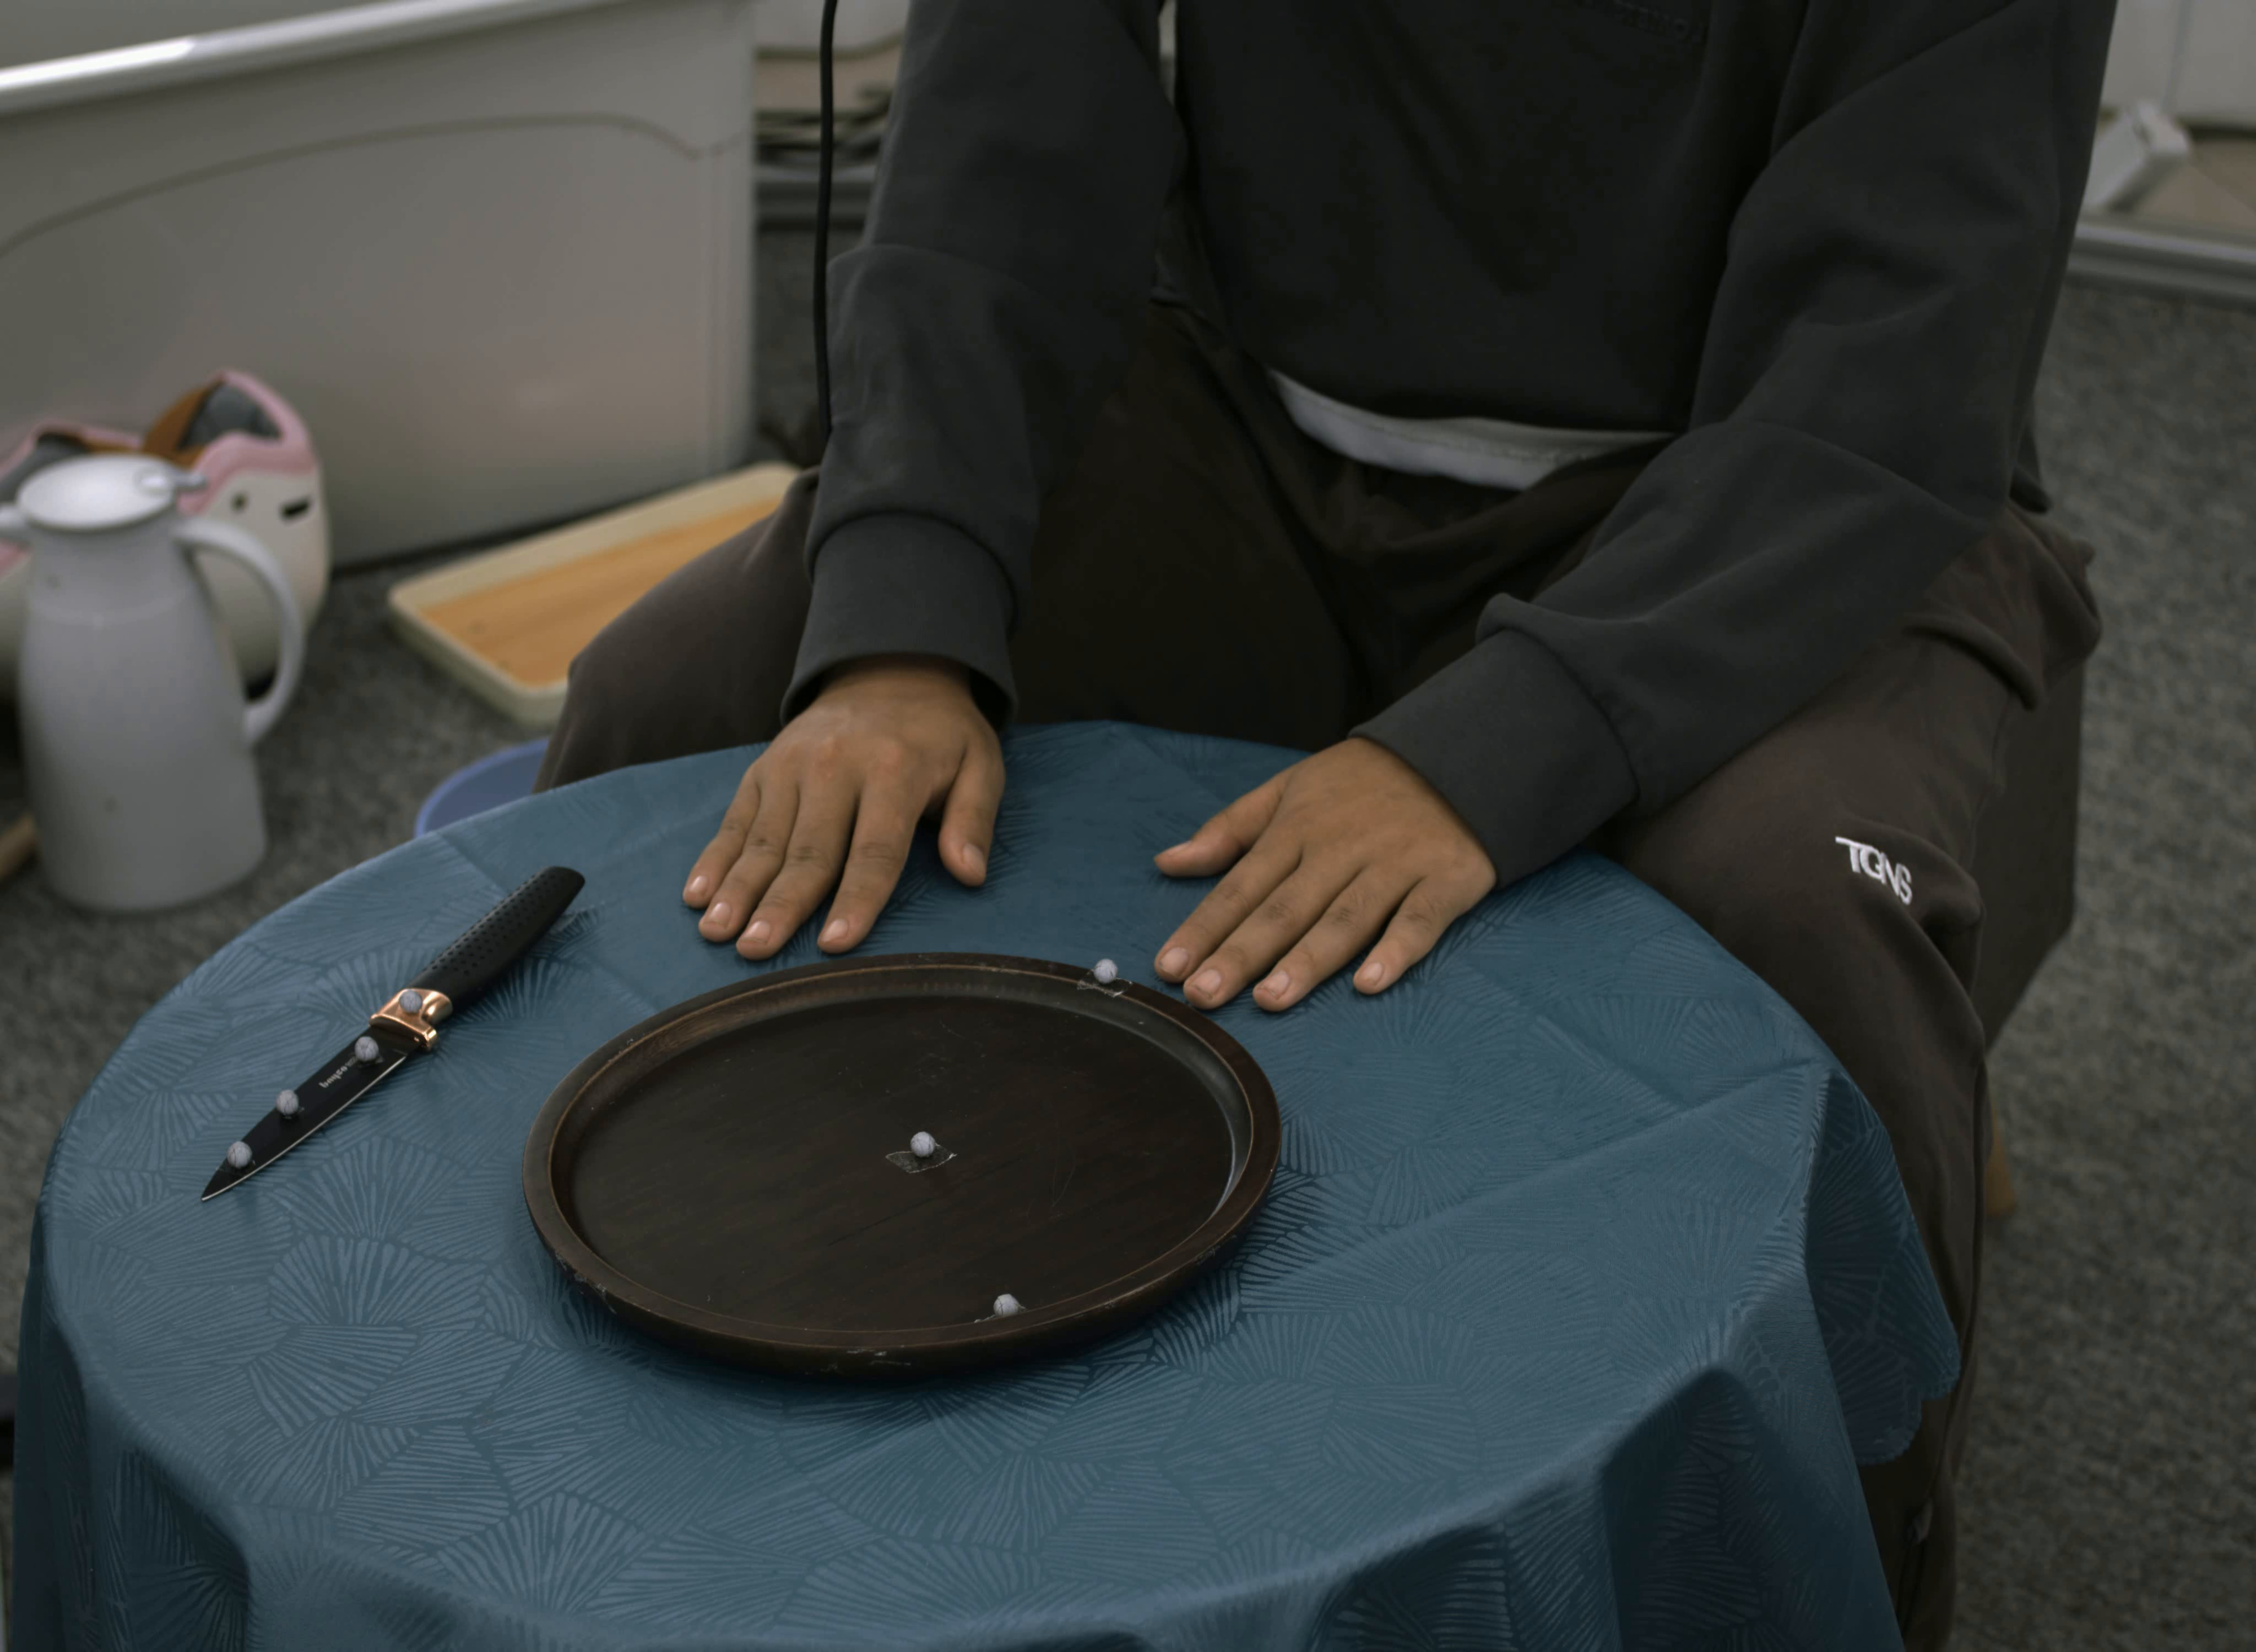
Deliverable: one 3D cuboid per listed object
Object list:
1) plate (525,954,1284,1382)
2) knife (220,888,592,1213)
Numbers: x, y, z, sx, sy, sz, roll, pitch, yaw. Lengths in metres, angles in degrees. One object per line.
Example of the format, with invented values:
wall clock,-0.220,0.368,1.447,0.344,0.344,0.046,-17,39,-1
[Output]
plate,-0.074,0.112,1.865,0.253,0.029,0.258,-2,26,1
knife,-0.253,0.077,1.962,0.026,0.017,0.229,17,34,23
